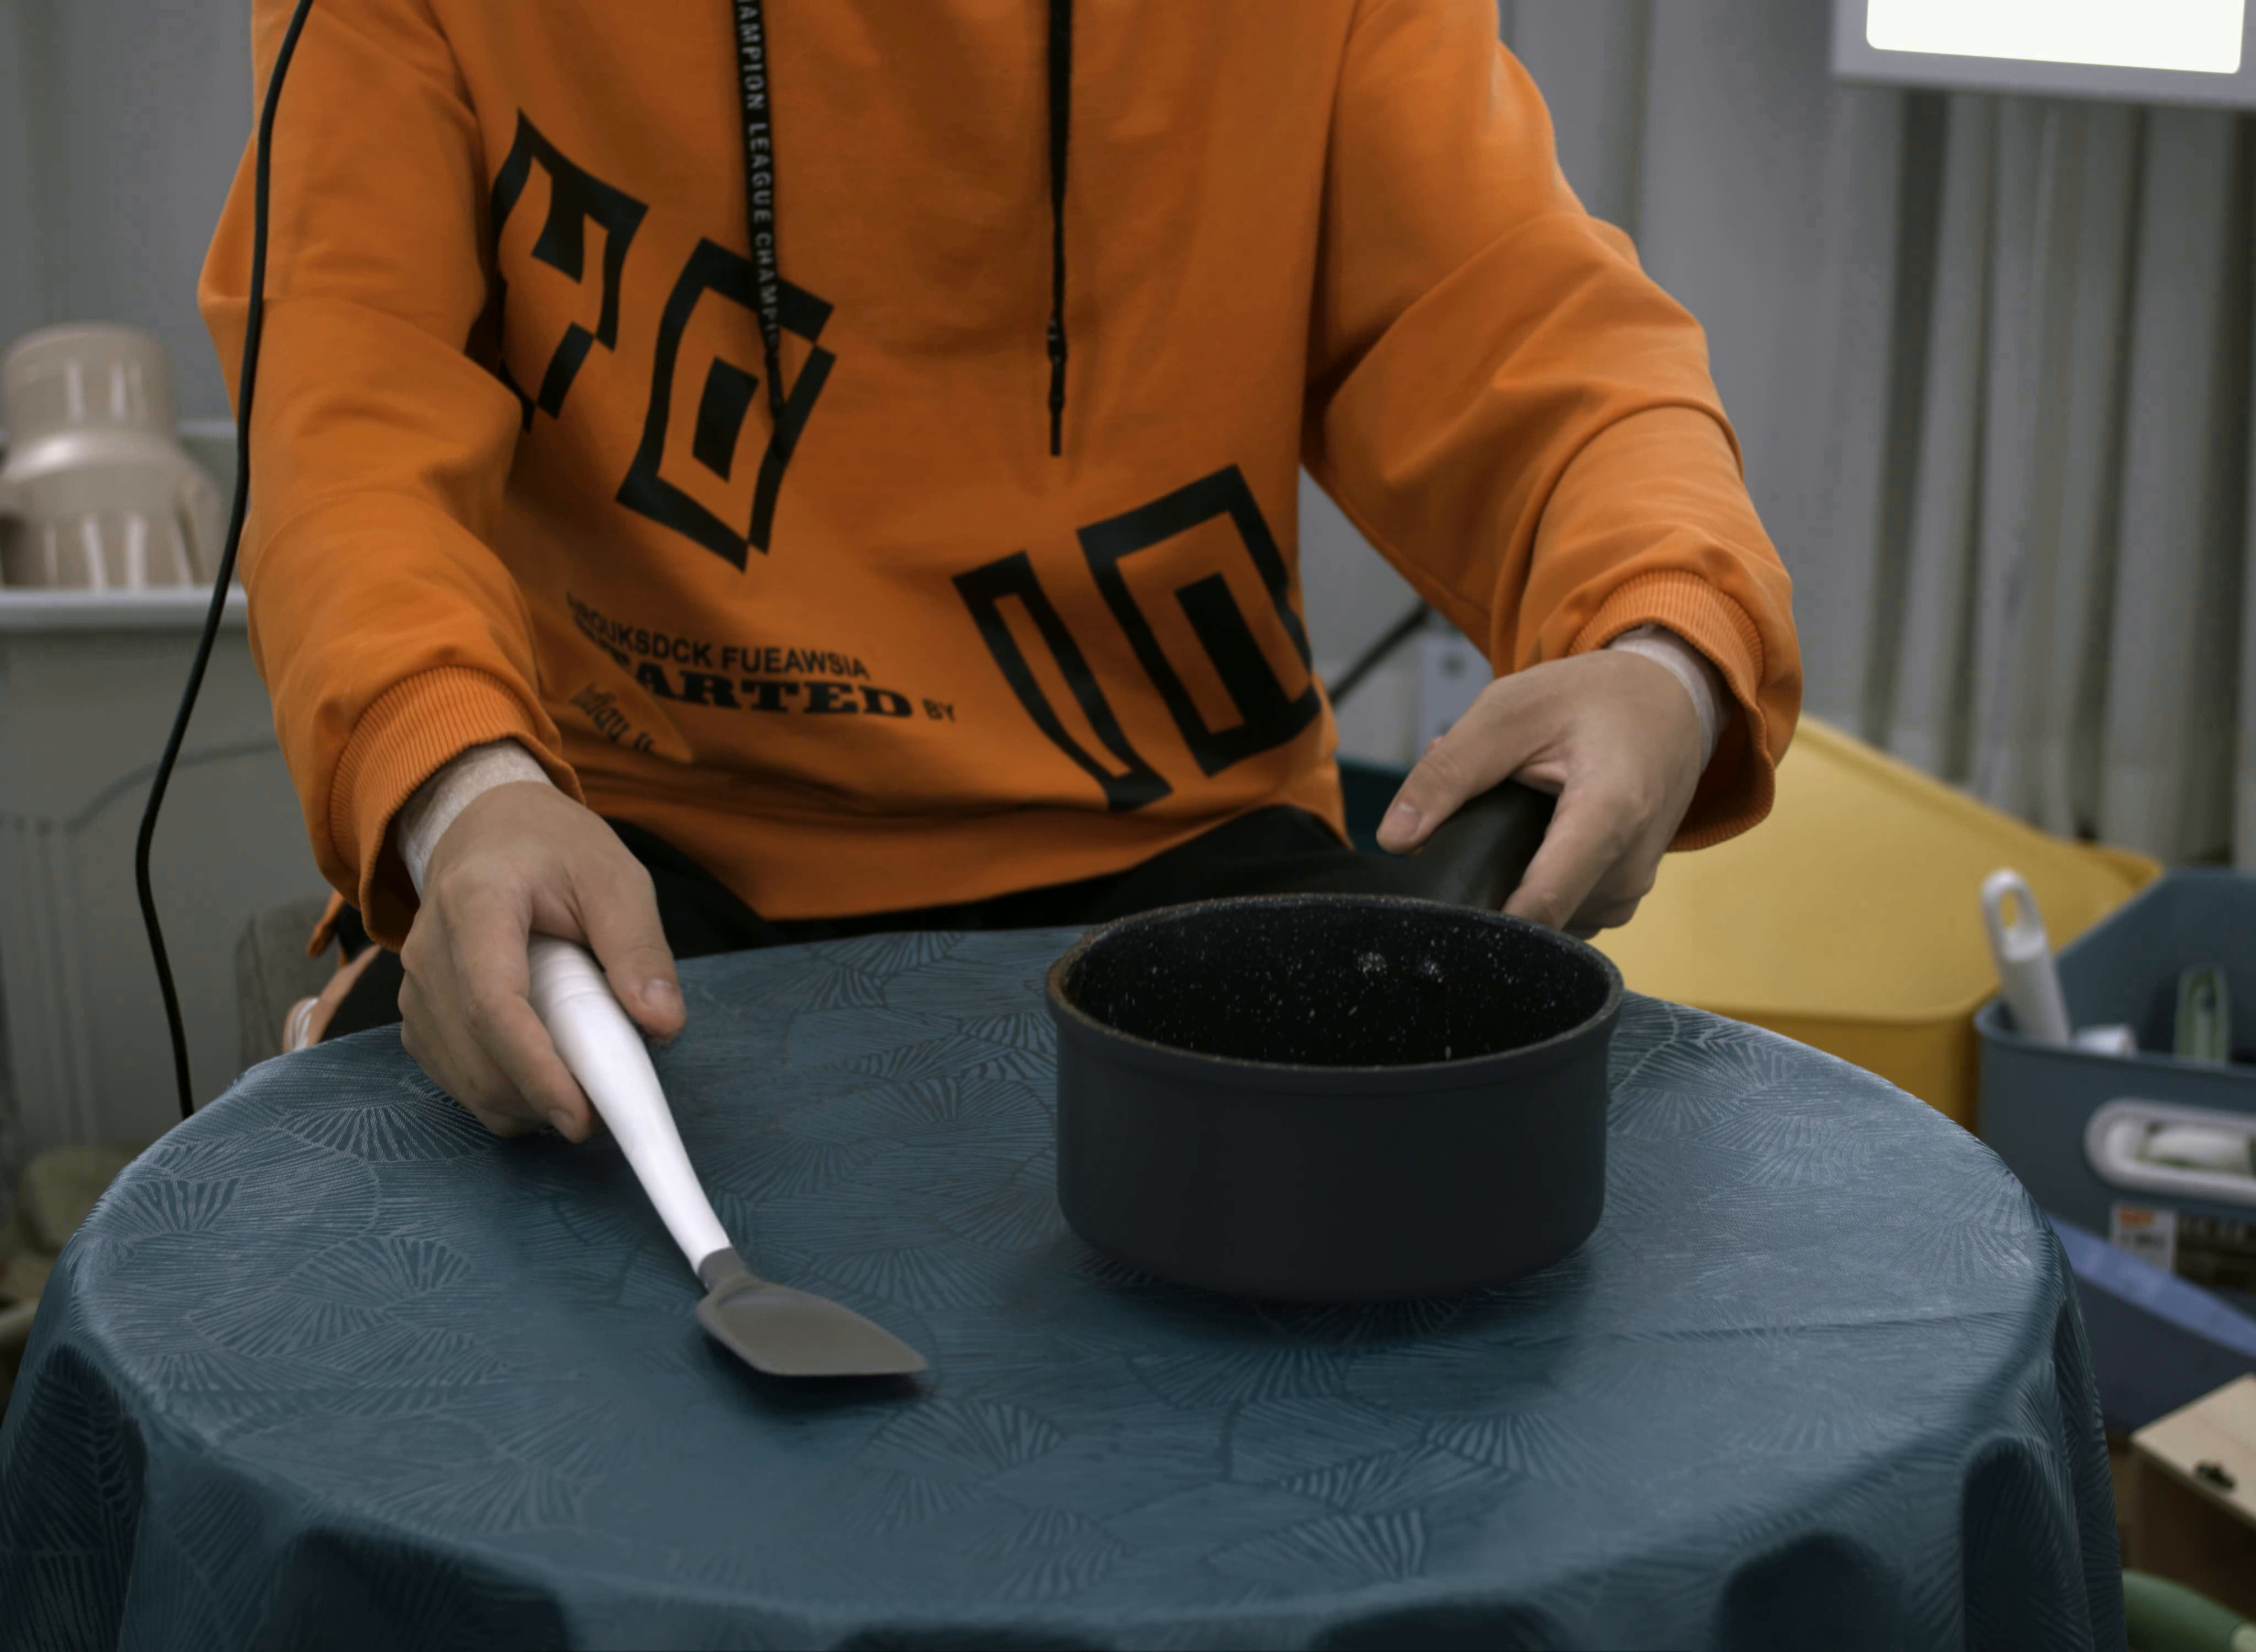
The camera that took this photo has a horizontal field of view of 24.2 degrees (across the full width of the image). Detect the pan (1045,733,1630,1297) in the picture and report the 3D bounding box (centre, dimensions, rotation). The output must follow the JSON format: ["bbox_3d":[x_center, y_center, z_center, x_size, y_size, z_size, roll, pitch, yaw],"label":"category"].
[{"bbox_3d":[0.088,0.054,1.627,0.170,0.087,0.329,7,19,19],"label":"pan"}]

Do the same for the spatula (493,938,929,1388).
[{"bbox_3d":[-0.132,0.105,1.560,0.059,0.032,0.284,6,20,-27],"label":"spatula"}]
